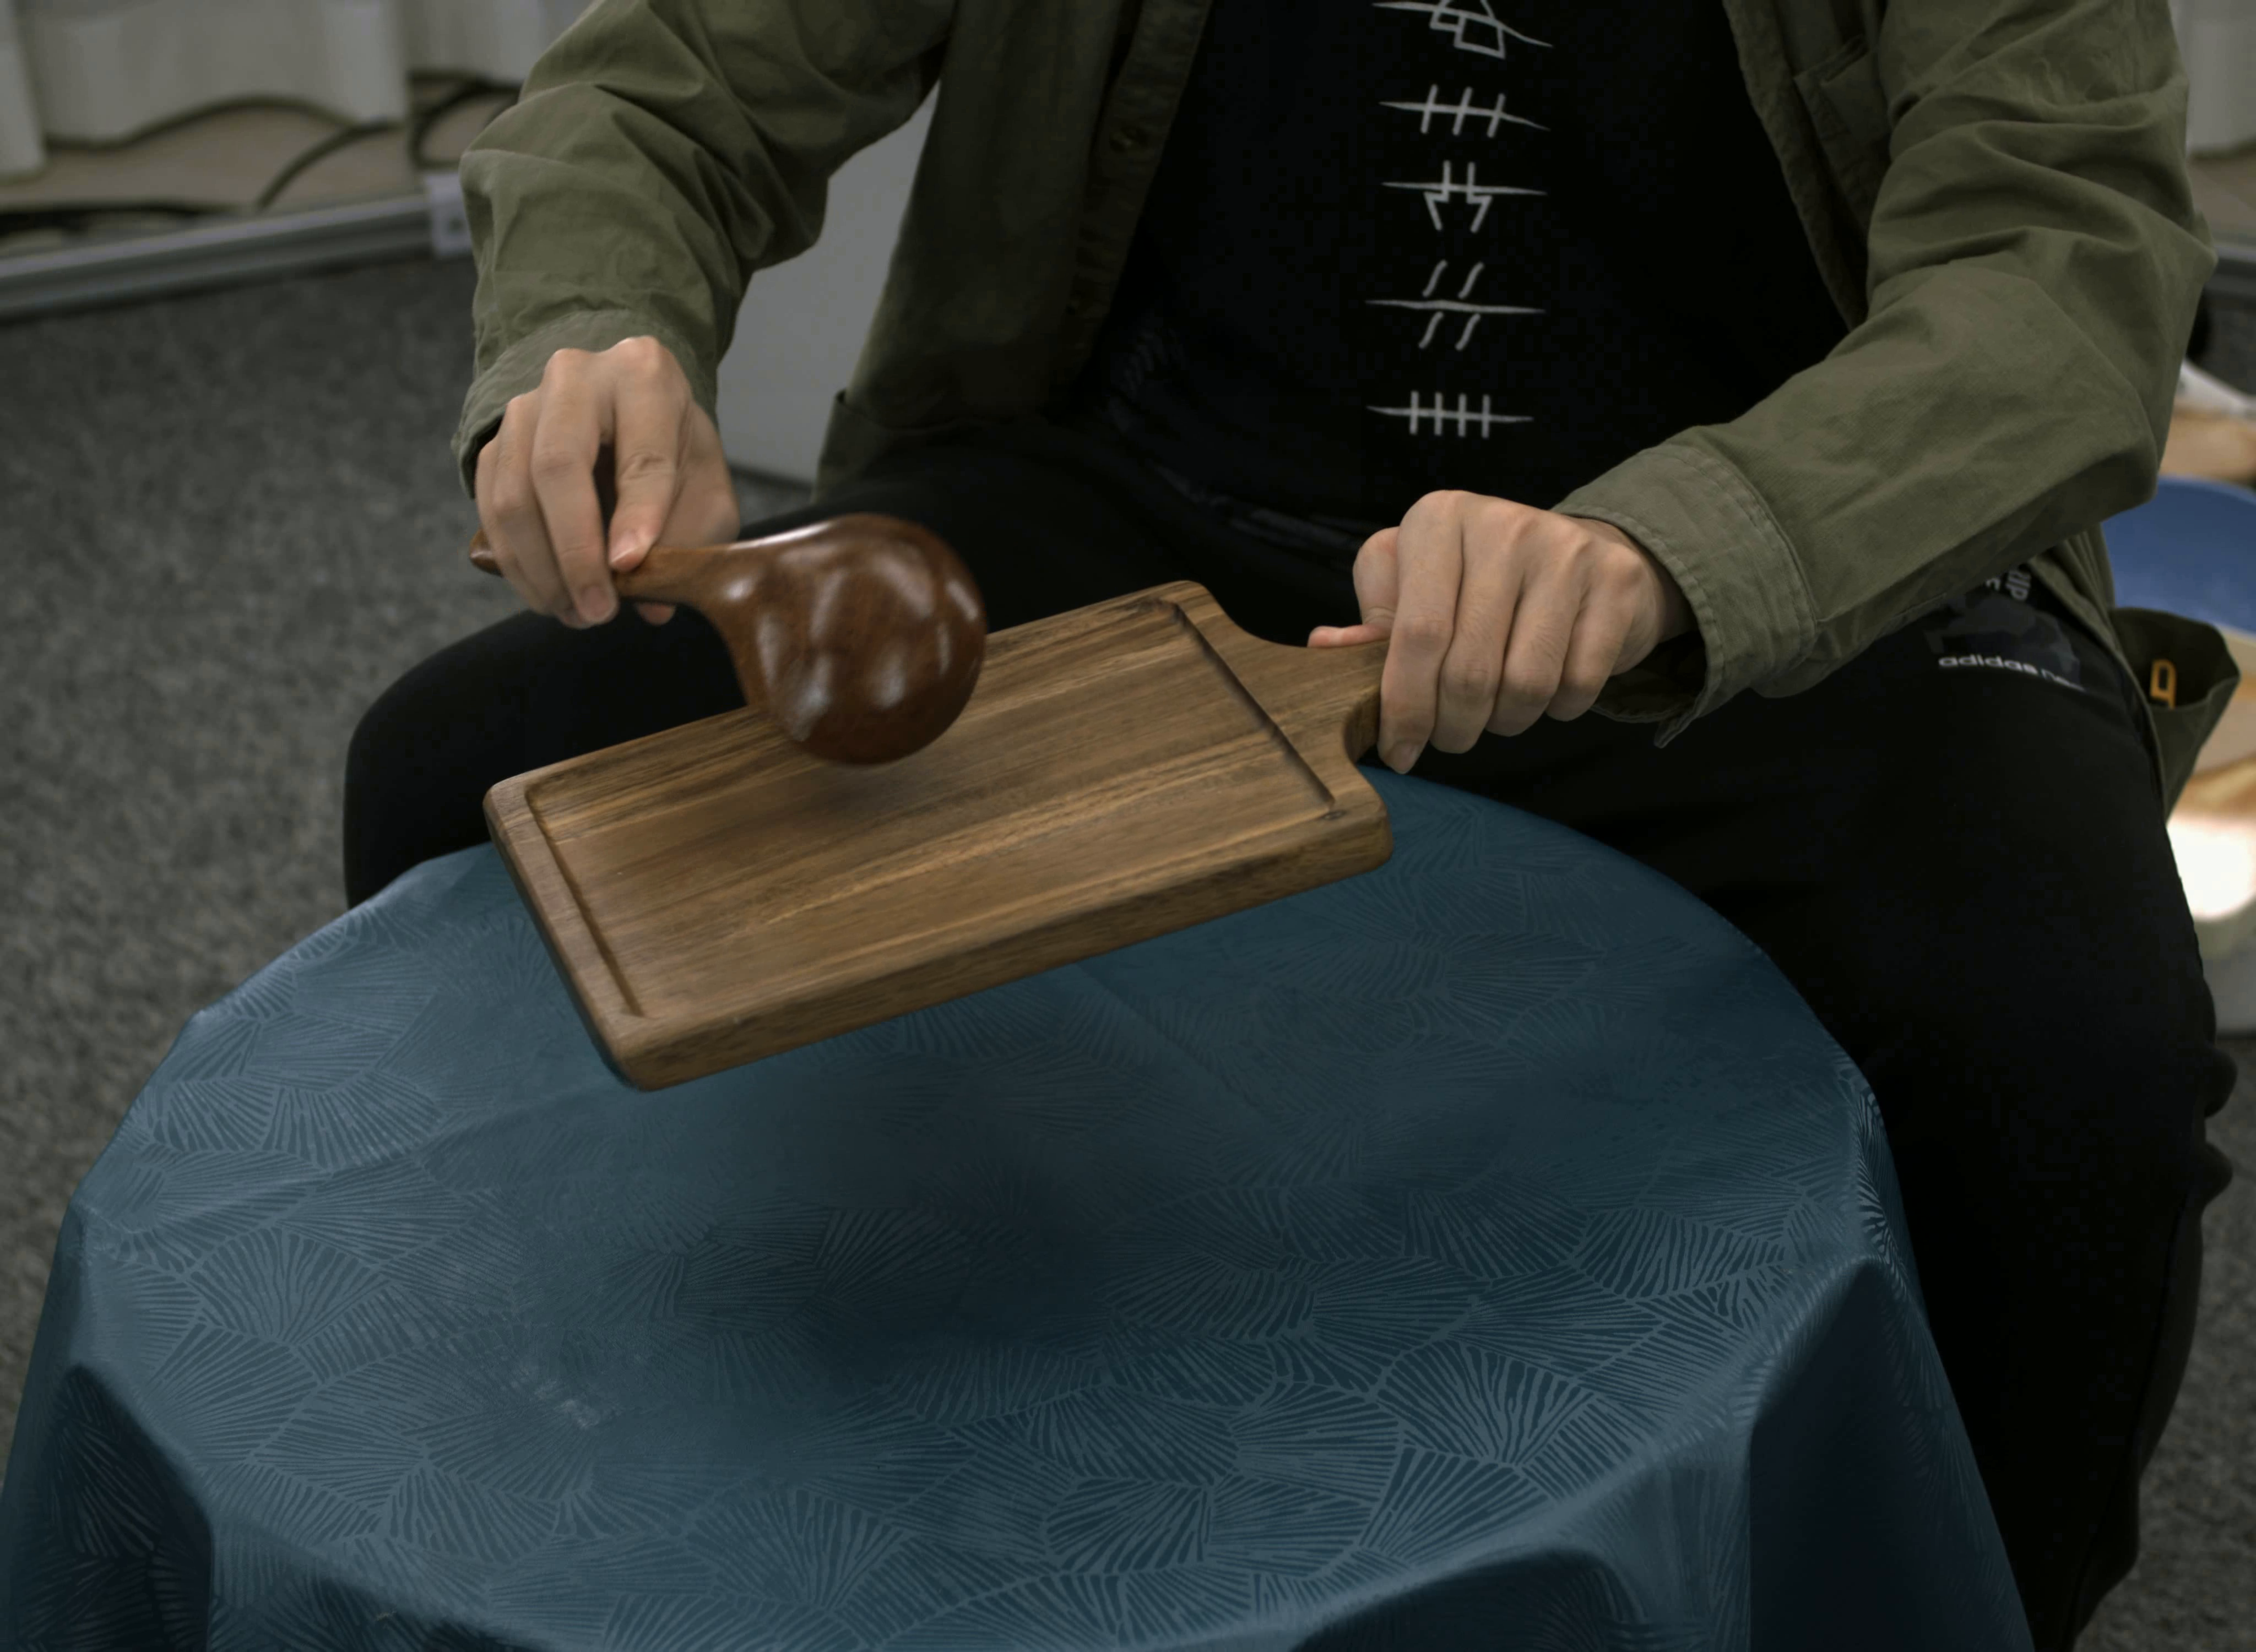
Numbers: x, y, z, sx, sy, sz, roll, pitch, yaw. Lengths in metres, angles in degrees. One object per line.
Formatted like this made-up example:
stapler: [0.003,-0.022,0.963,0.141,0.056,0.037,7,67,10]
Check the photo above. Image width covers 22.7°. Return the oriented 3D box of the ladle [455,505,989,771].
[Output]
ladle: [-0.135,-0.072,1.851,0.083,0.076,0.273,-57,27,-12]

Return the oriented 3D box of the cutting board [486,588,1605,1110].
cutting board: [-0.015,-0.011,1.760,0.352,0.023,0.203,-16,28,-10]
